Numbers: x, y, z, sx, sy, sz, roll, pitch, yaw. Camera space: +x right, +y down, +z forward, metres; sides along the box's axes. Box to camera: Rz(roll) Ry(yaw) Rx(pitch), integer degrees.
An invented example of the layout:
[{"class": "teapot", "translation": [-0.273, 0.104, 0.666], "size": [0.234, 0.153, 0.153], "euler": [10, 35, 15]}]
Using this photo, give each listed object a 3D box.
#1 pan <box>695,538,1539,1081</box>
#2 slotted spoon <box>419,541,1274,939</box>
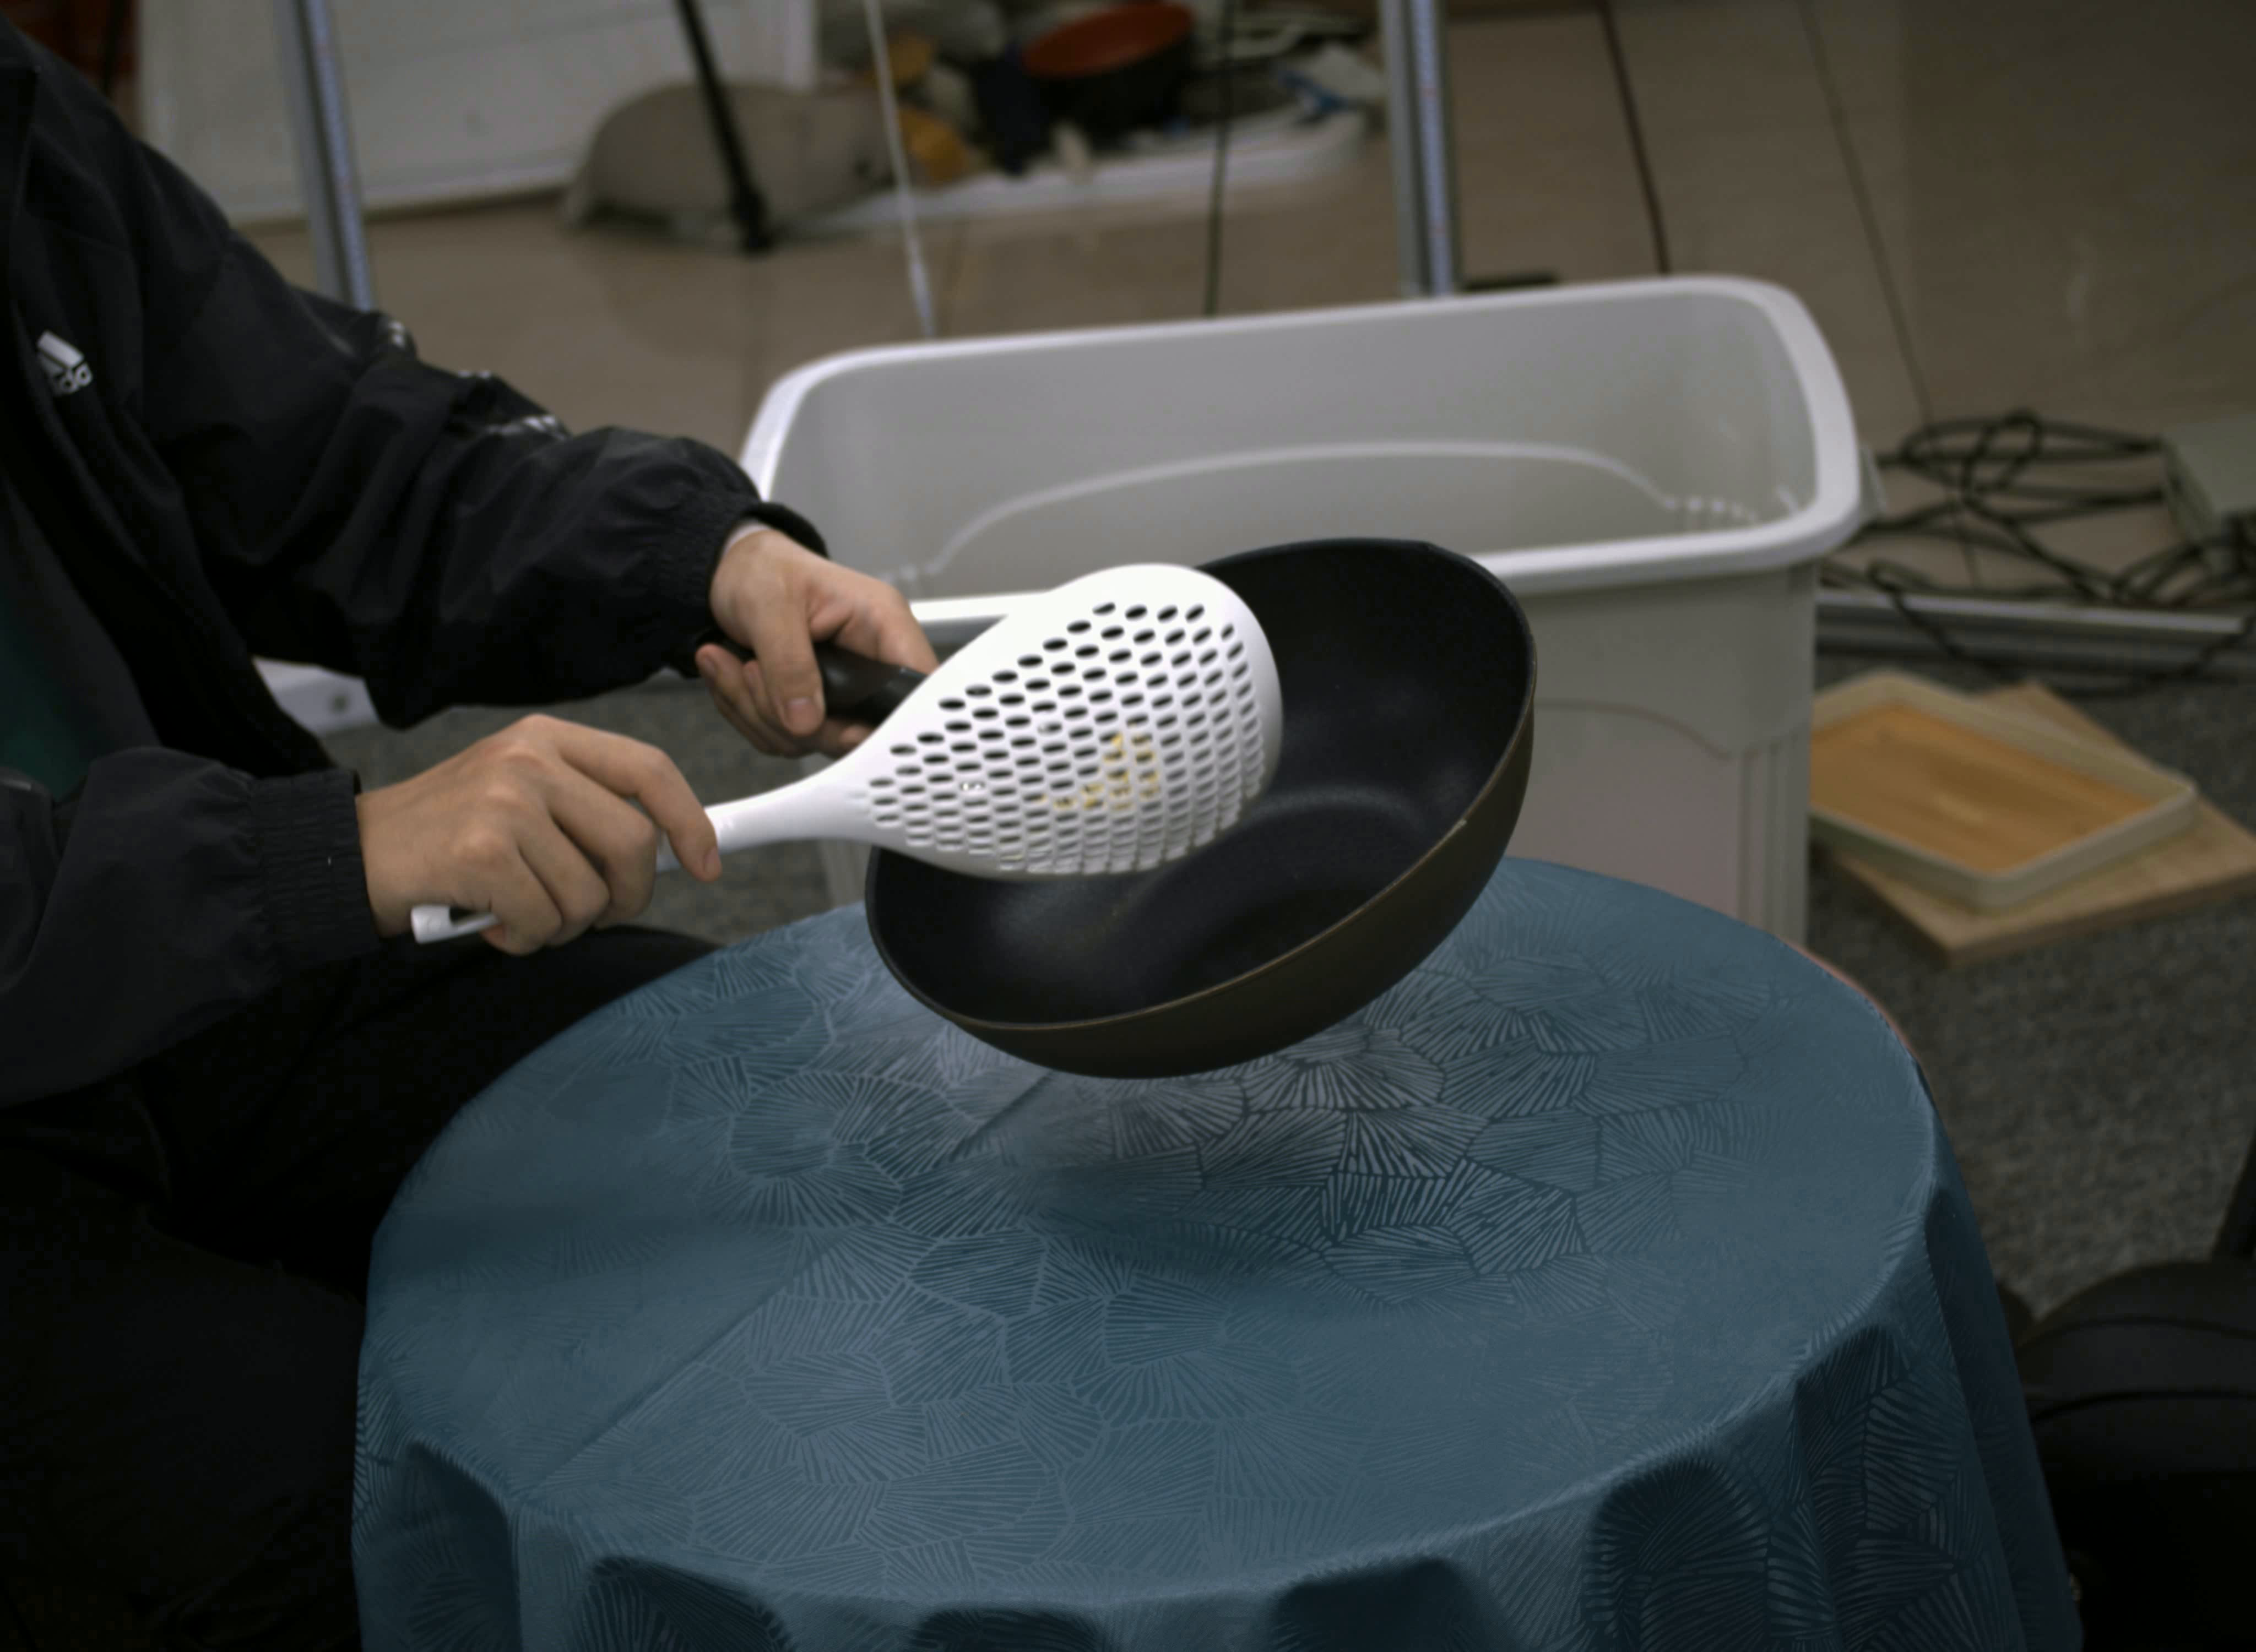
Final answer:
[{"class": "pan", "translation": [-0.020, -0.010, 2.254], "size": [0.460, 0.088, 0.285], "euler": [16, 54, 47]}, {"class": "slotted spoon", "translation": [-0.104, -0.010, 2.165], "size": [0.347, 0.139, 0.049], "euler": [-15, 34, -9]}]
